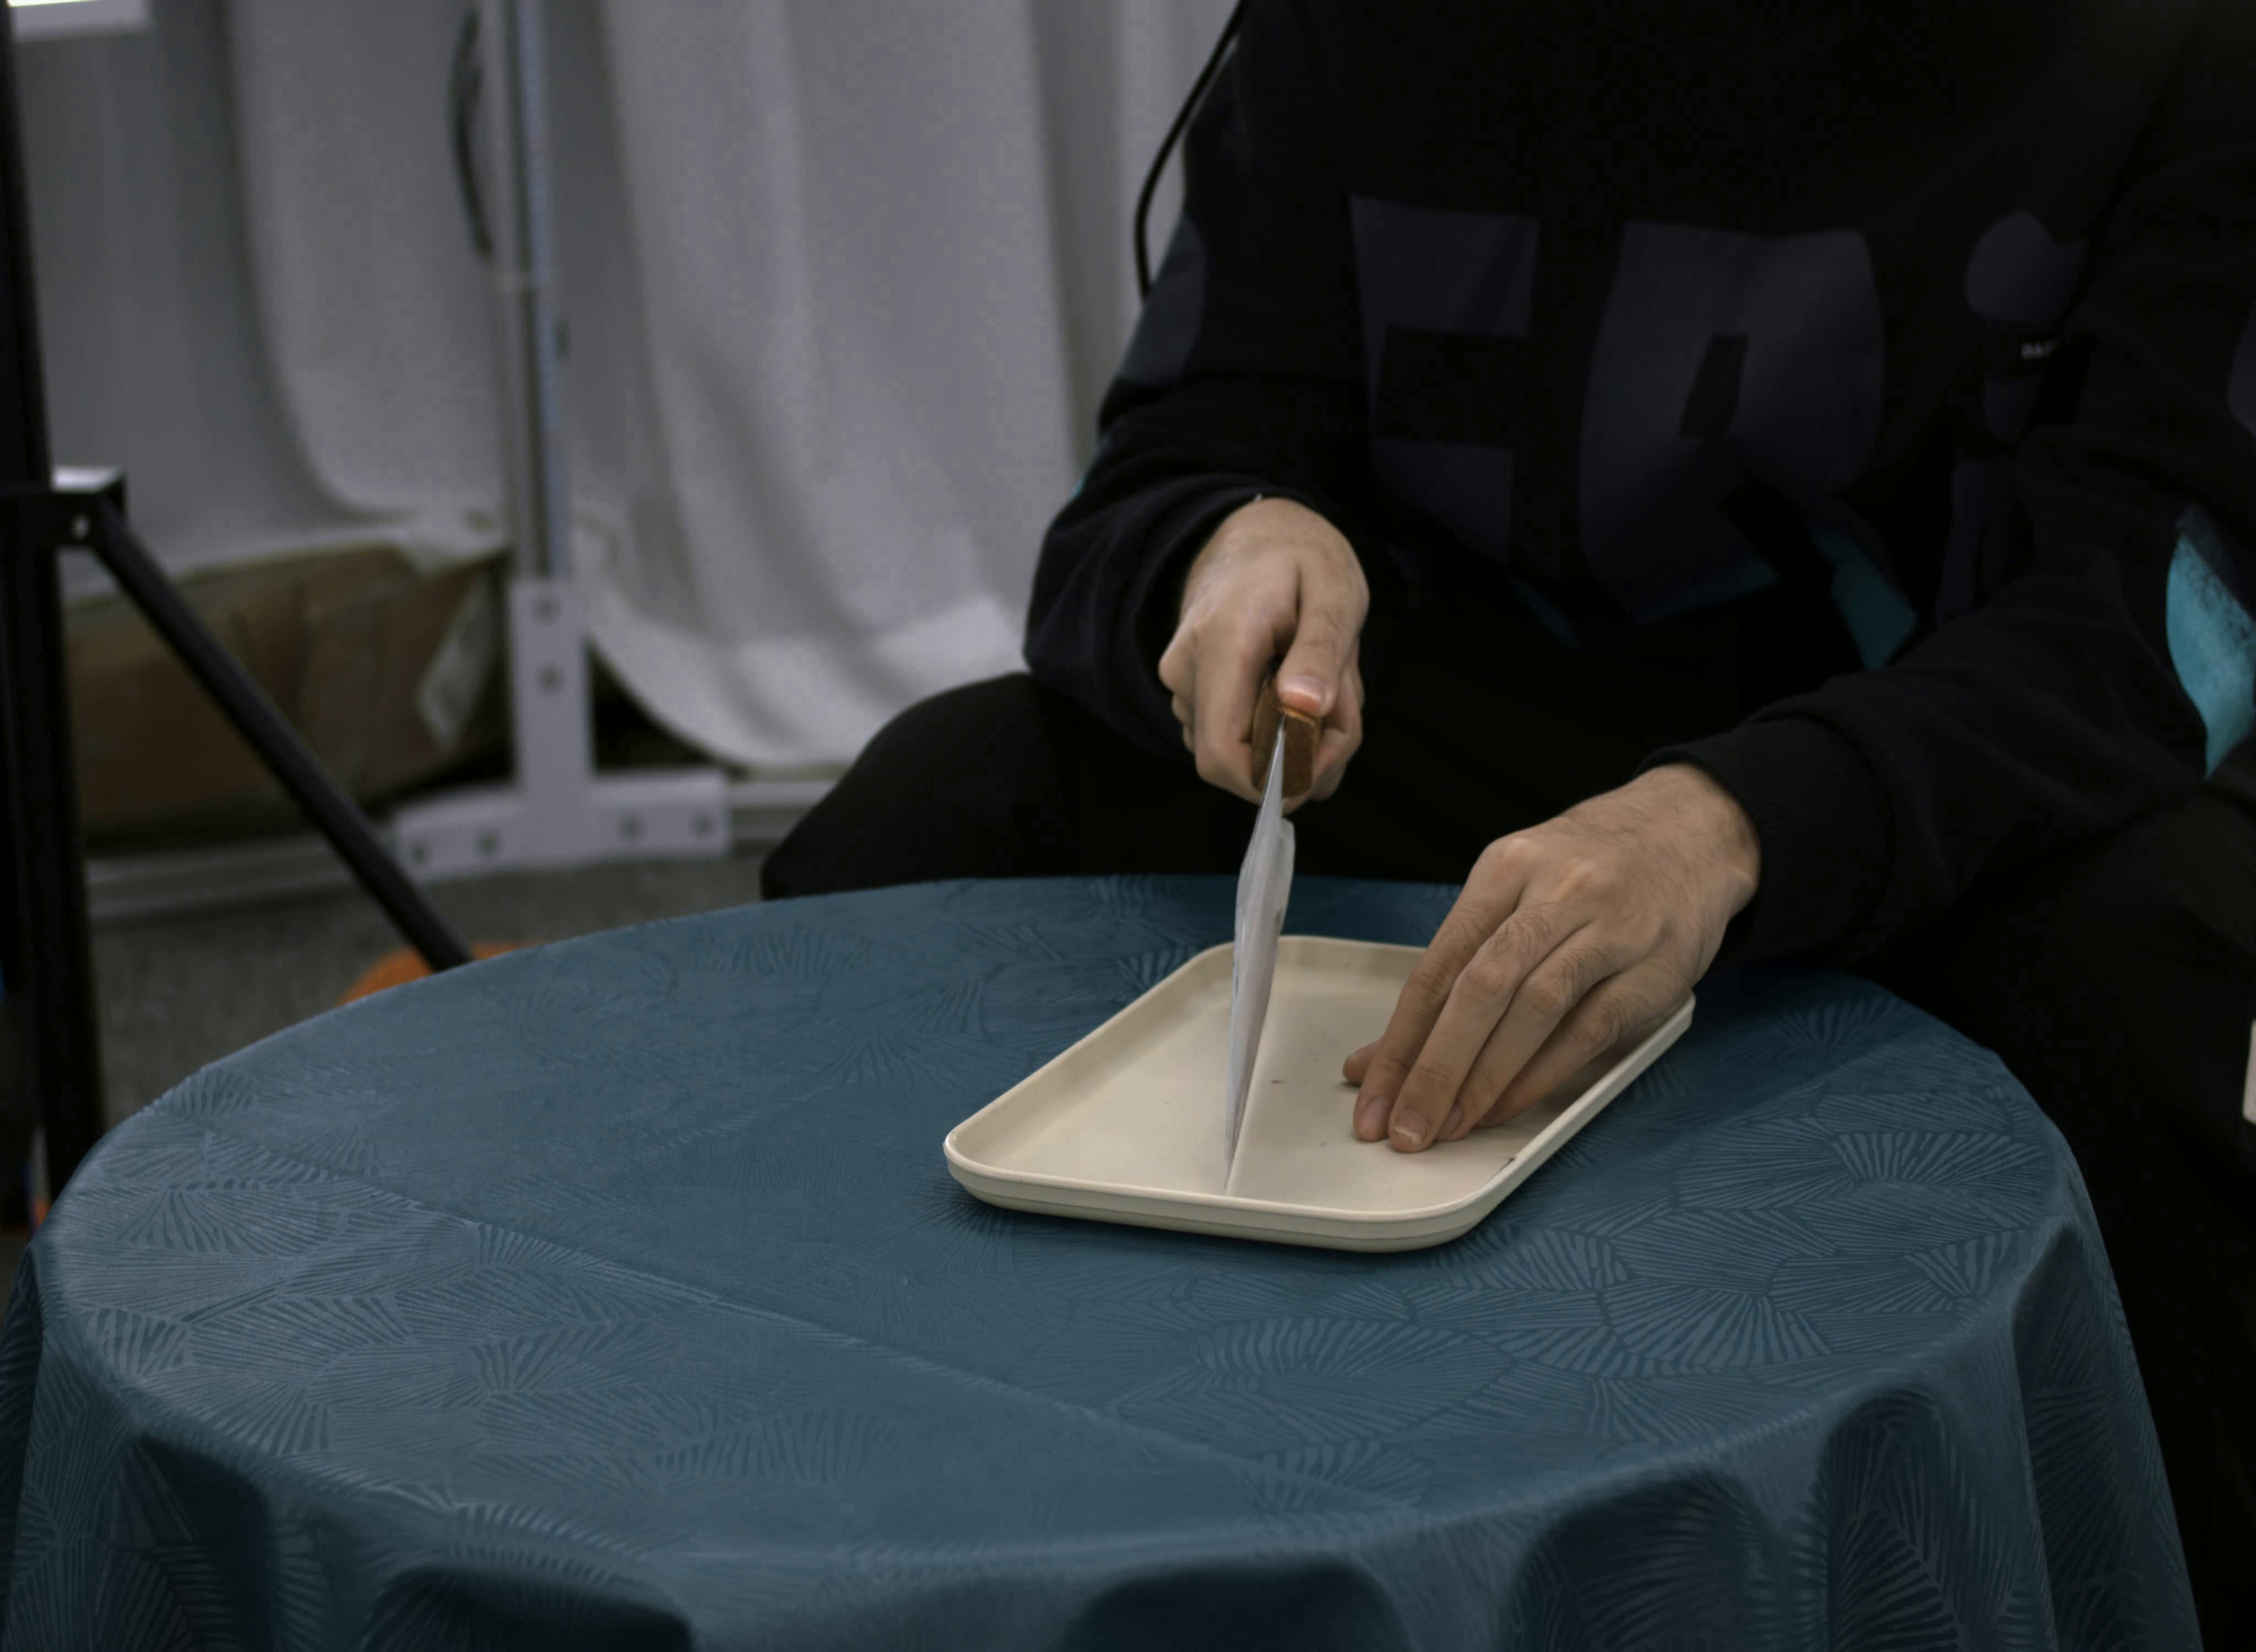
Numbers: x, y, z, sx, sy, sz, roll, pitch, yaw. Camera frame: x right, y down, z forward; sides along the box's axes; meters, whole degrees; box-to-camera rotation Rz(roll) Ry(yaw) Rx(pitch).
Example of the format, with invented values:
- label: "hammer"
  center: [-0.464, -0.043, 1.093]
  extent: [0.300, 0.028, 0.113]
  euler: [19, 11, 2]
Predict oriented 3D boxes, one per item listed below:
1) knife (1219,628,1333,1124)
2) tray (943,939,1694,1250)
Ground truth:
- label: "knife"
  center: [0.044, 0.014, 1.664]
  extent: [0.021, 0.093, 0.305]
  euler: [4, 18, 5]
- label: "tray"
  center: [0.062, 0.080, 1.610]
  extent: [0.174, 0.017, 0.236]
  euler: [4, 17, 26]
